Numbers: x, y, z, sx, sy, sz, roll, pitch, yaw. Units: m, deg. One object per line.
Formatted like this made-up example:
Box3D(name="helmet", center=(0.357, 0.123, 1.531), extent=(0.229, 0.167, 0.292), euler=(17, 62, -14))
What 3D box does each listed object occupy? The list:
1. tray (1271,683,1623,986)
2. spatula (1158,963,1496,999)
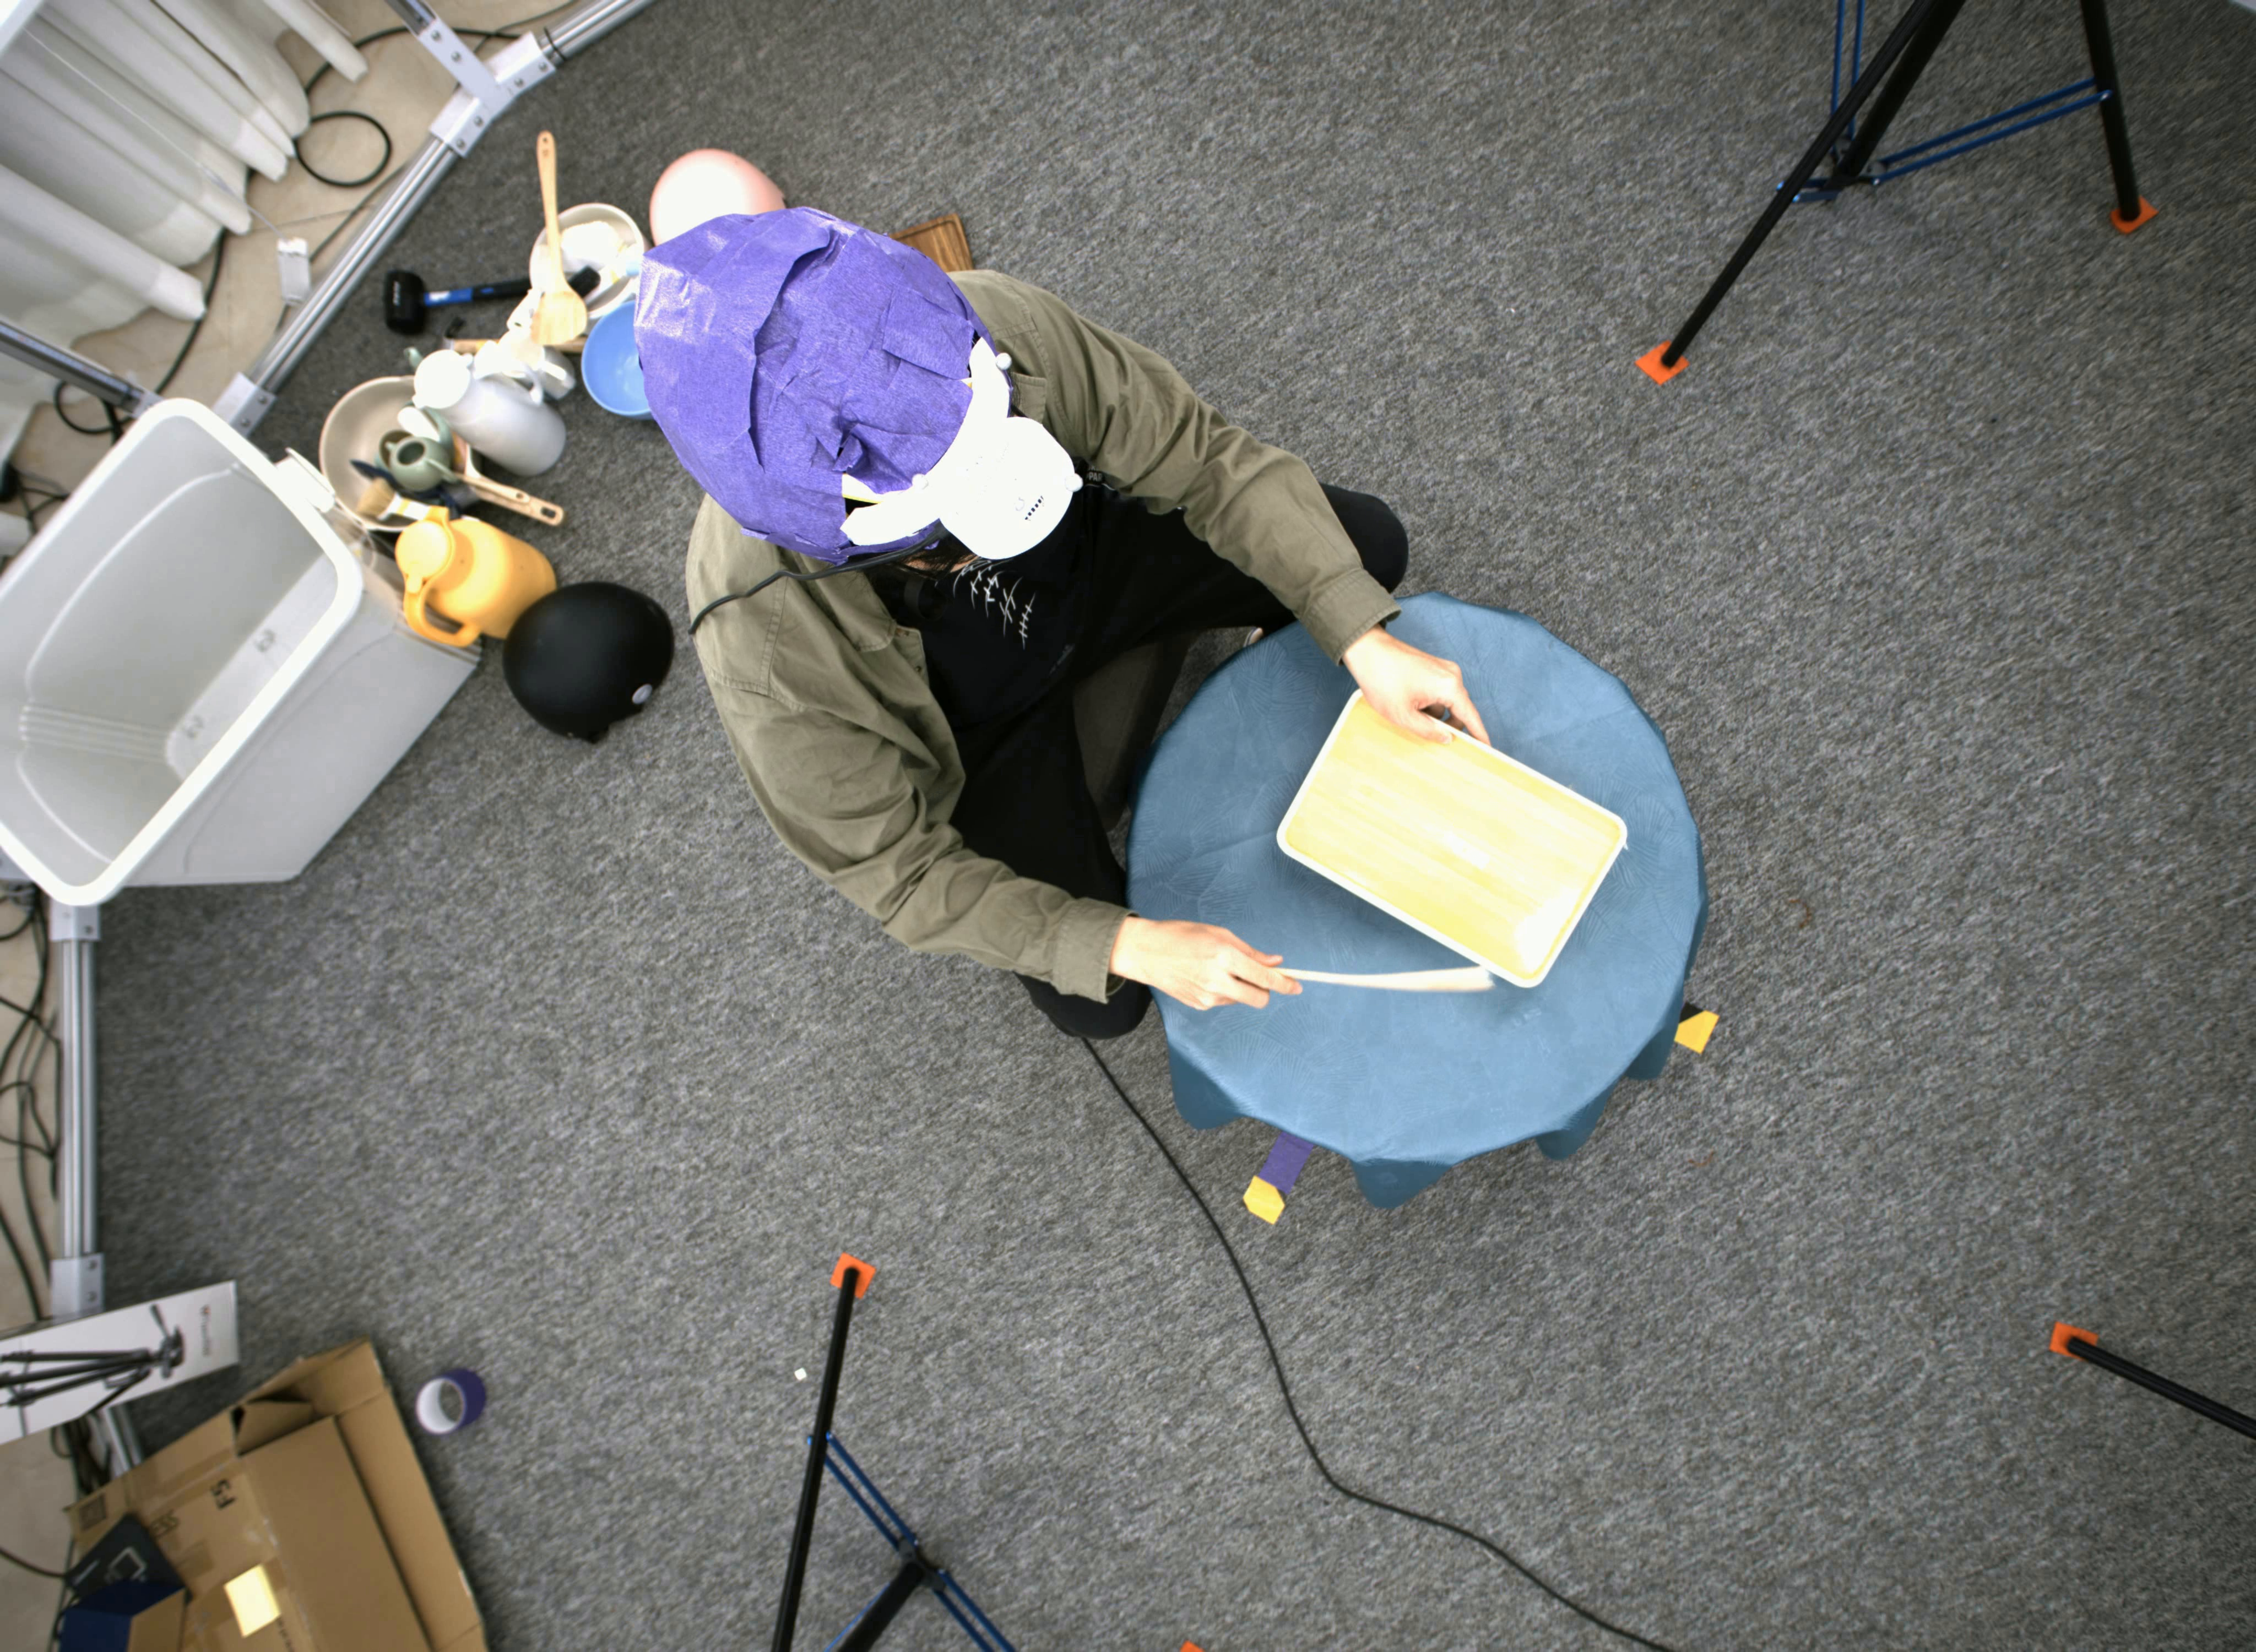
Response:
Box3D(name="tray", center=(0.311, 0.005, 1.362), extent=(0.299, 0.027, 0.193), euler=(31, 102, 13))
Box3D(name="spatula", center=(0.179, 0.139, 1.277), extent=(0.329, 0.080, 0.016), euler=(2, 76, 27))
